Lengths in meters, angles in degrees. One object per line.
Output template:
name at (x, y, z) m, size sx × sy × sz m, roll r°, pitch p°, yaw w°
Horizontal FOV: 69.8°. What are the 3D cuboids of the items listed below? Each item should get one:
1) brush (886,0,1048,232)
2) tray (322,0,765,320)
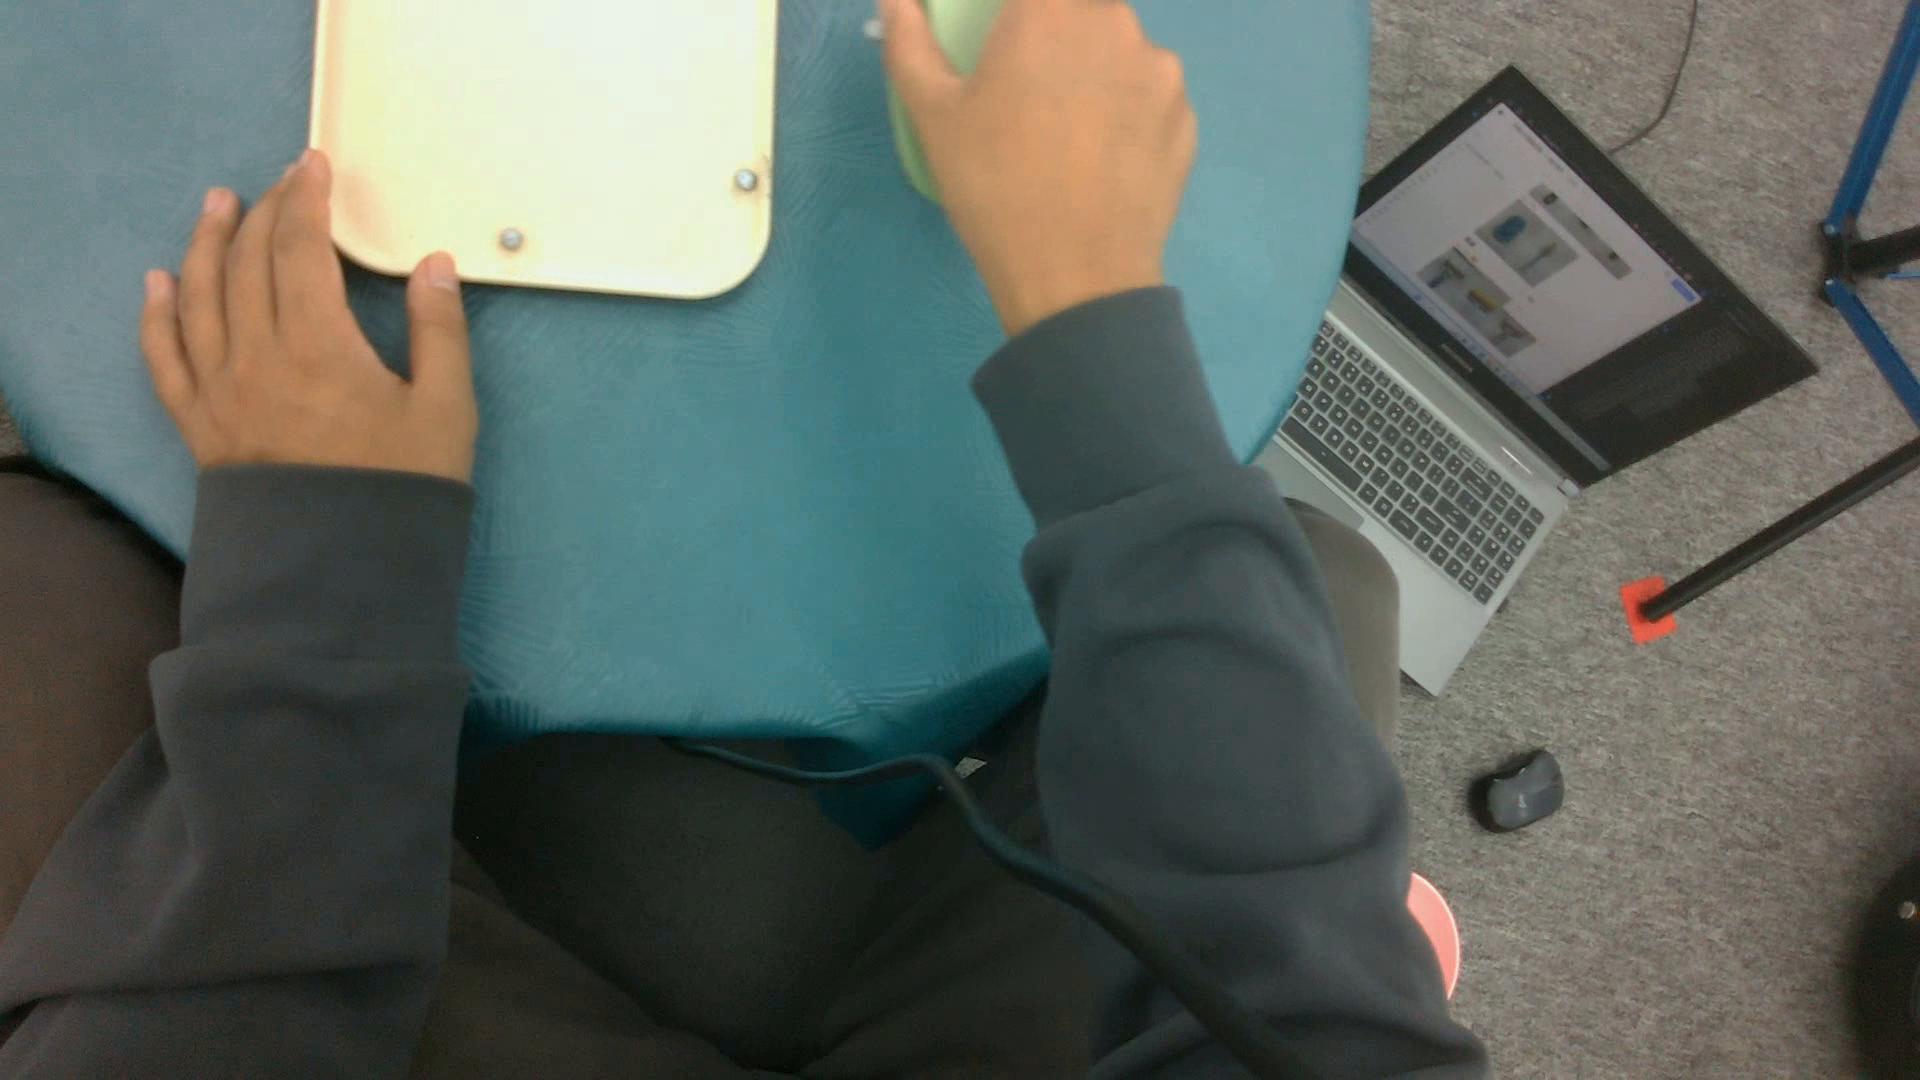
brush at (0.003, -0.184, 0.540) m, size 0.060 × 0.076 × 0.122 m, roll -6°, pitch 107°, yaw -14°
tray at (-0.167, -0.208, 0.562) m, size 0.171 × 0.017 × 0.240 m, roll 0°, pitch 86°, yaw -14°
